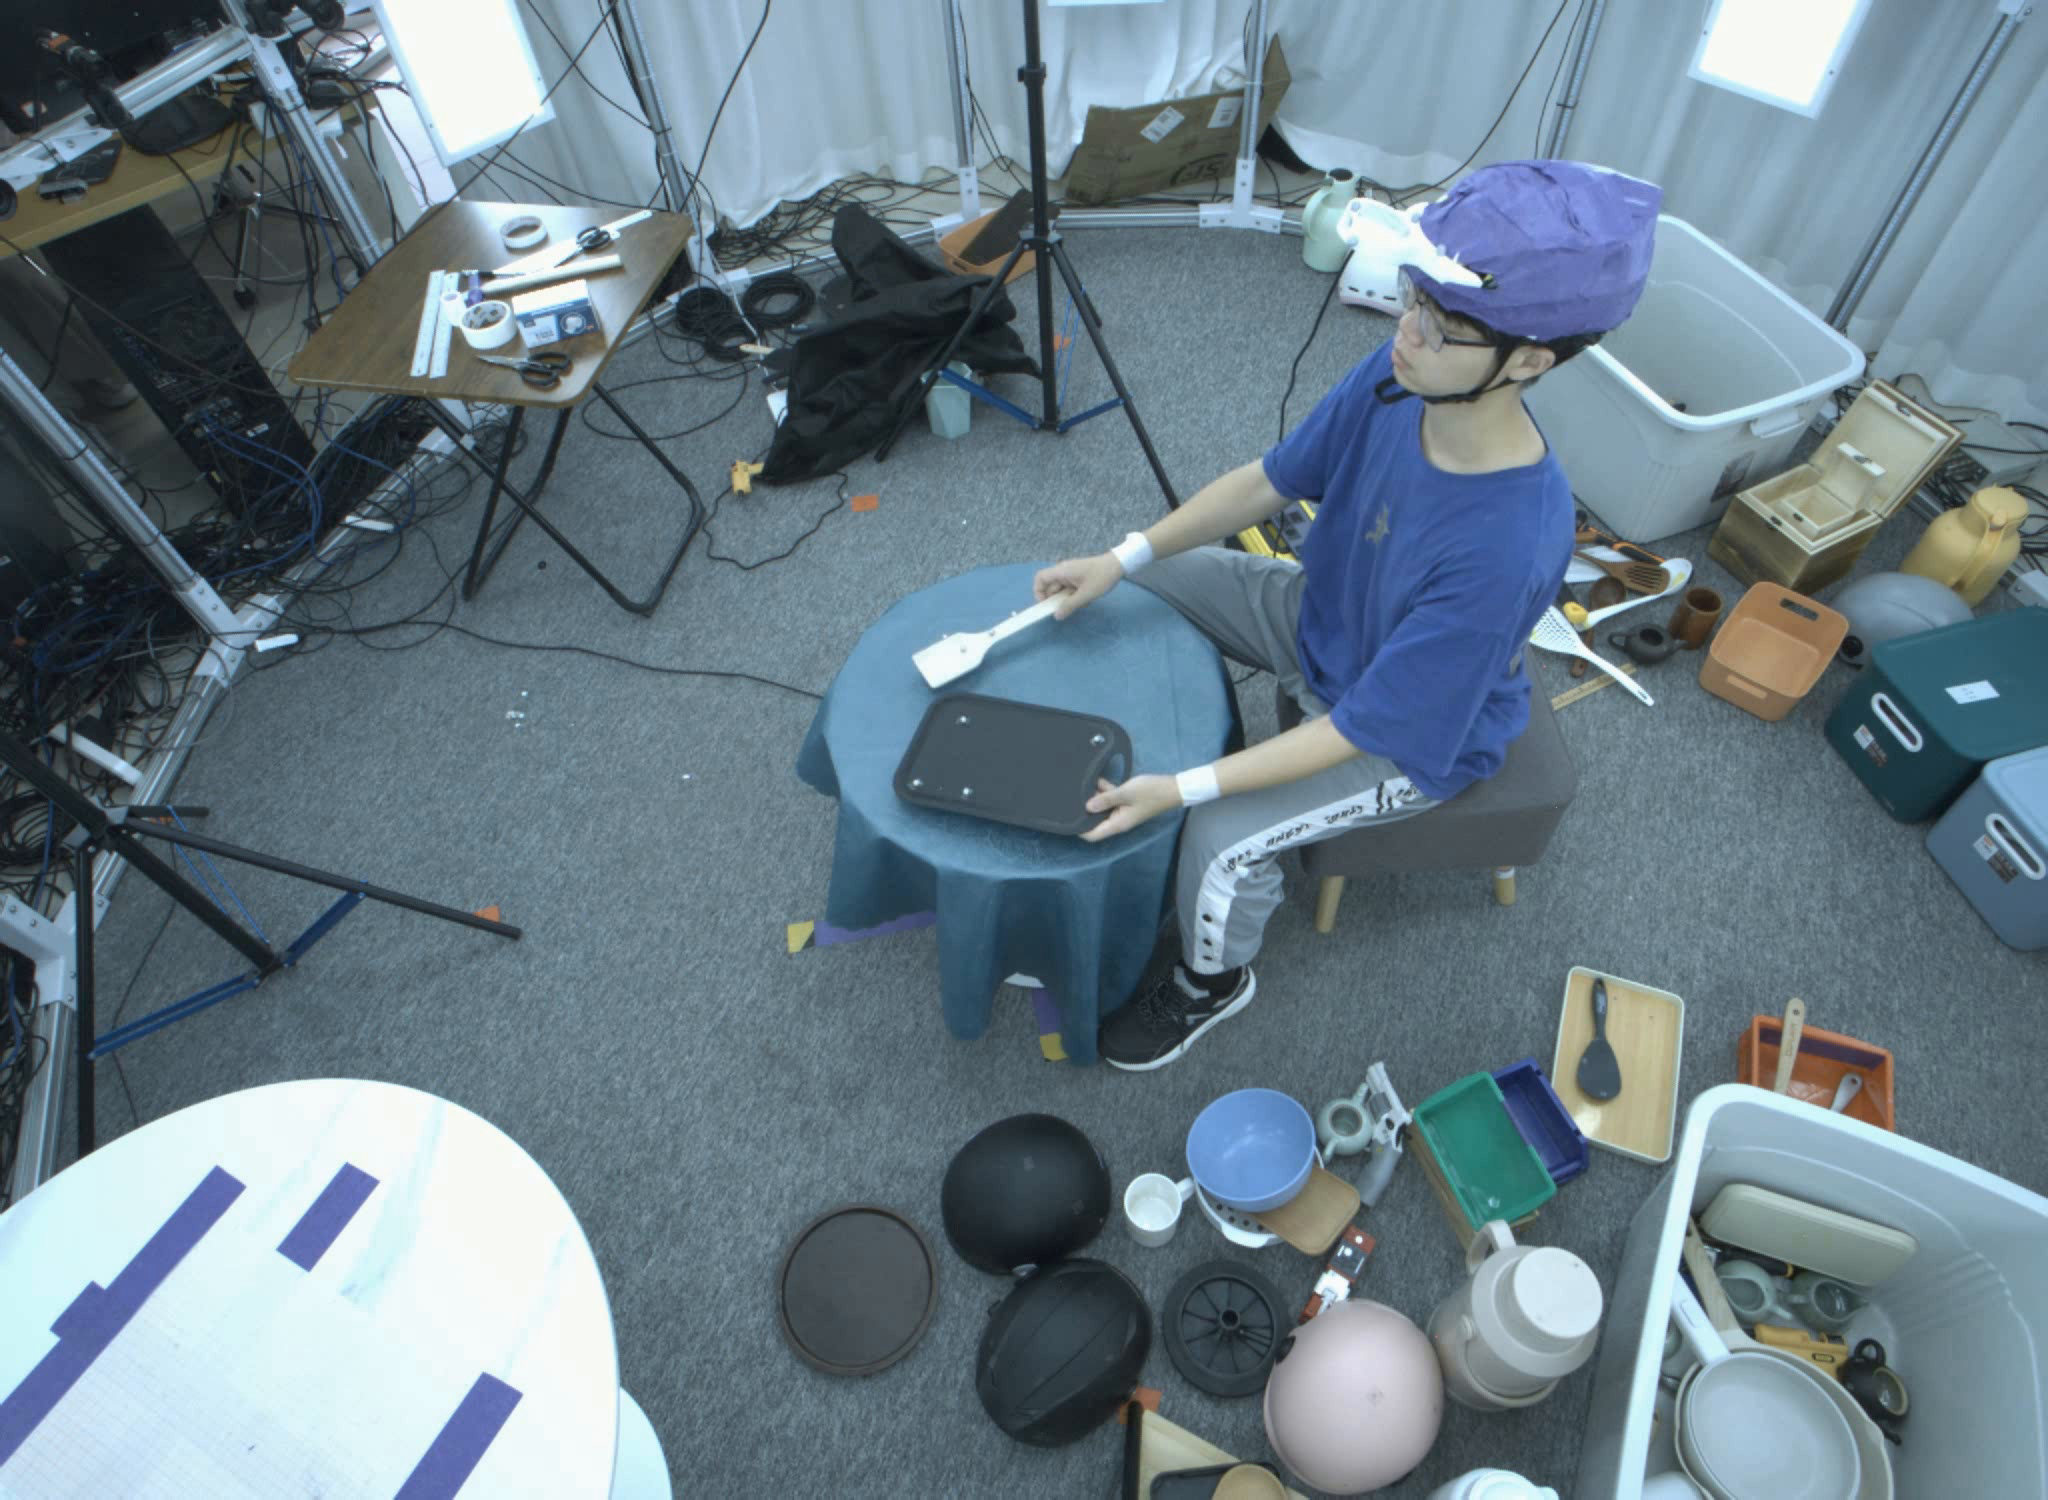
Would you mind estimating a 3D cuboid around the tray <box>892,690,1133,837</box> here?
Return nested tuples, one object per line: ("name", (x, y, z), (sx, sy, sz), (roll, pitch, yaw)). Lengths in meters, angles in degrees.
("tray", (-0.011, 0.014, 1.711), (0.321, 0.010, 0.211), (12, 55, 16))

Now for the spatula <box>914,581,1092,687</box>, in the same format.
("spatula", (-0.026, -0.186, 1.862), (0.295, 0.011, 0.071), (-29, 64, -13))
